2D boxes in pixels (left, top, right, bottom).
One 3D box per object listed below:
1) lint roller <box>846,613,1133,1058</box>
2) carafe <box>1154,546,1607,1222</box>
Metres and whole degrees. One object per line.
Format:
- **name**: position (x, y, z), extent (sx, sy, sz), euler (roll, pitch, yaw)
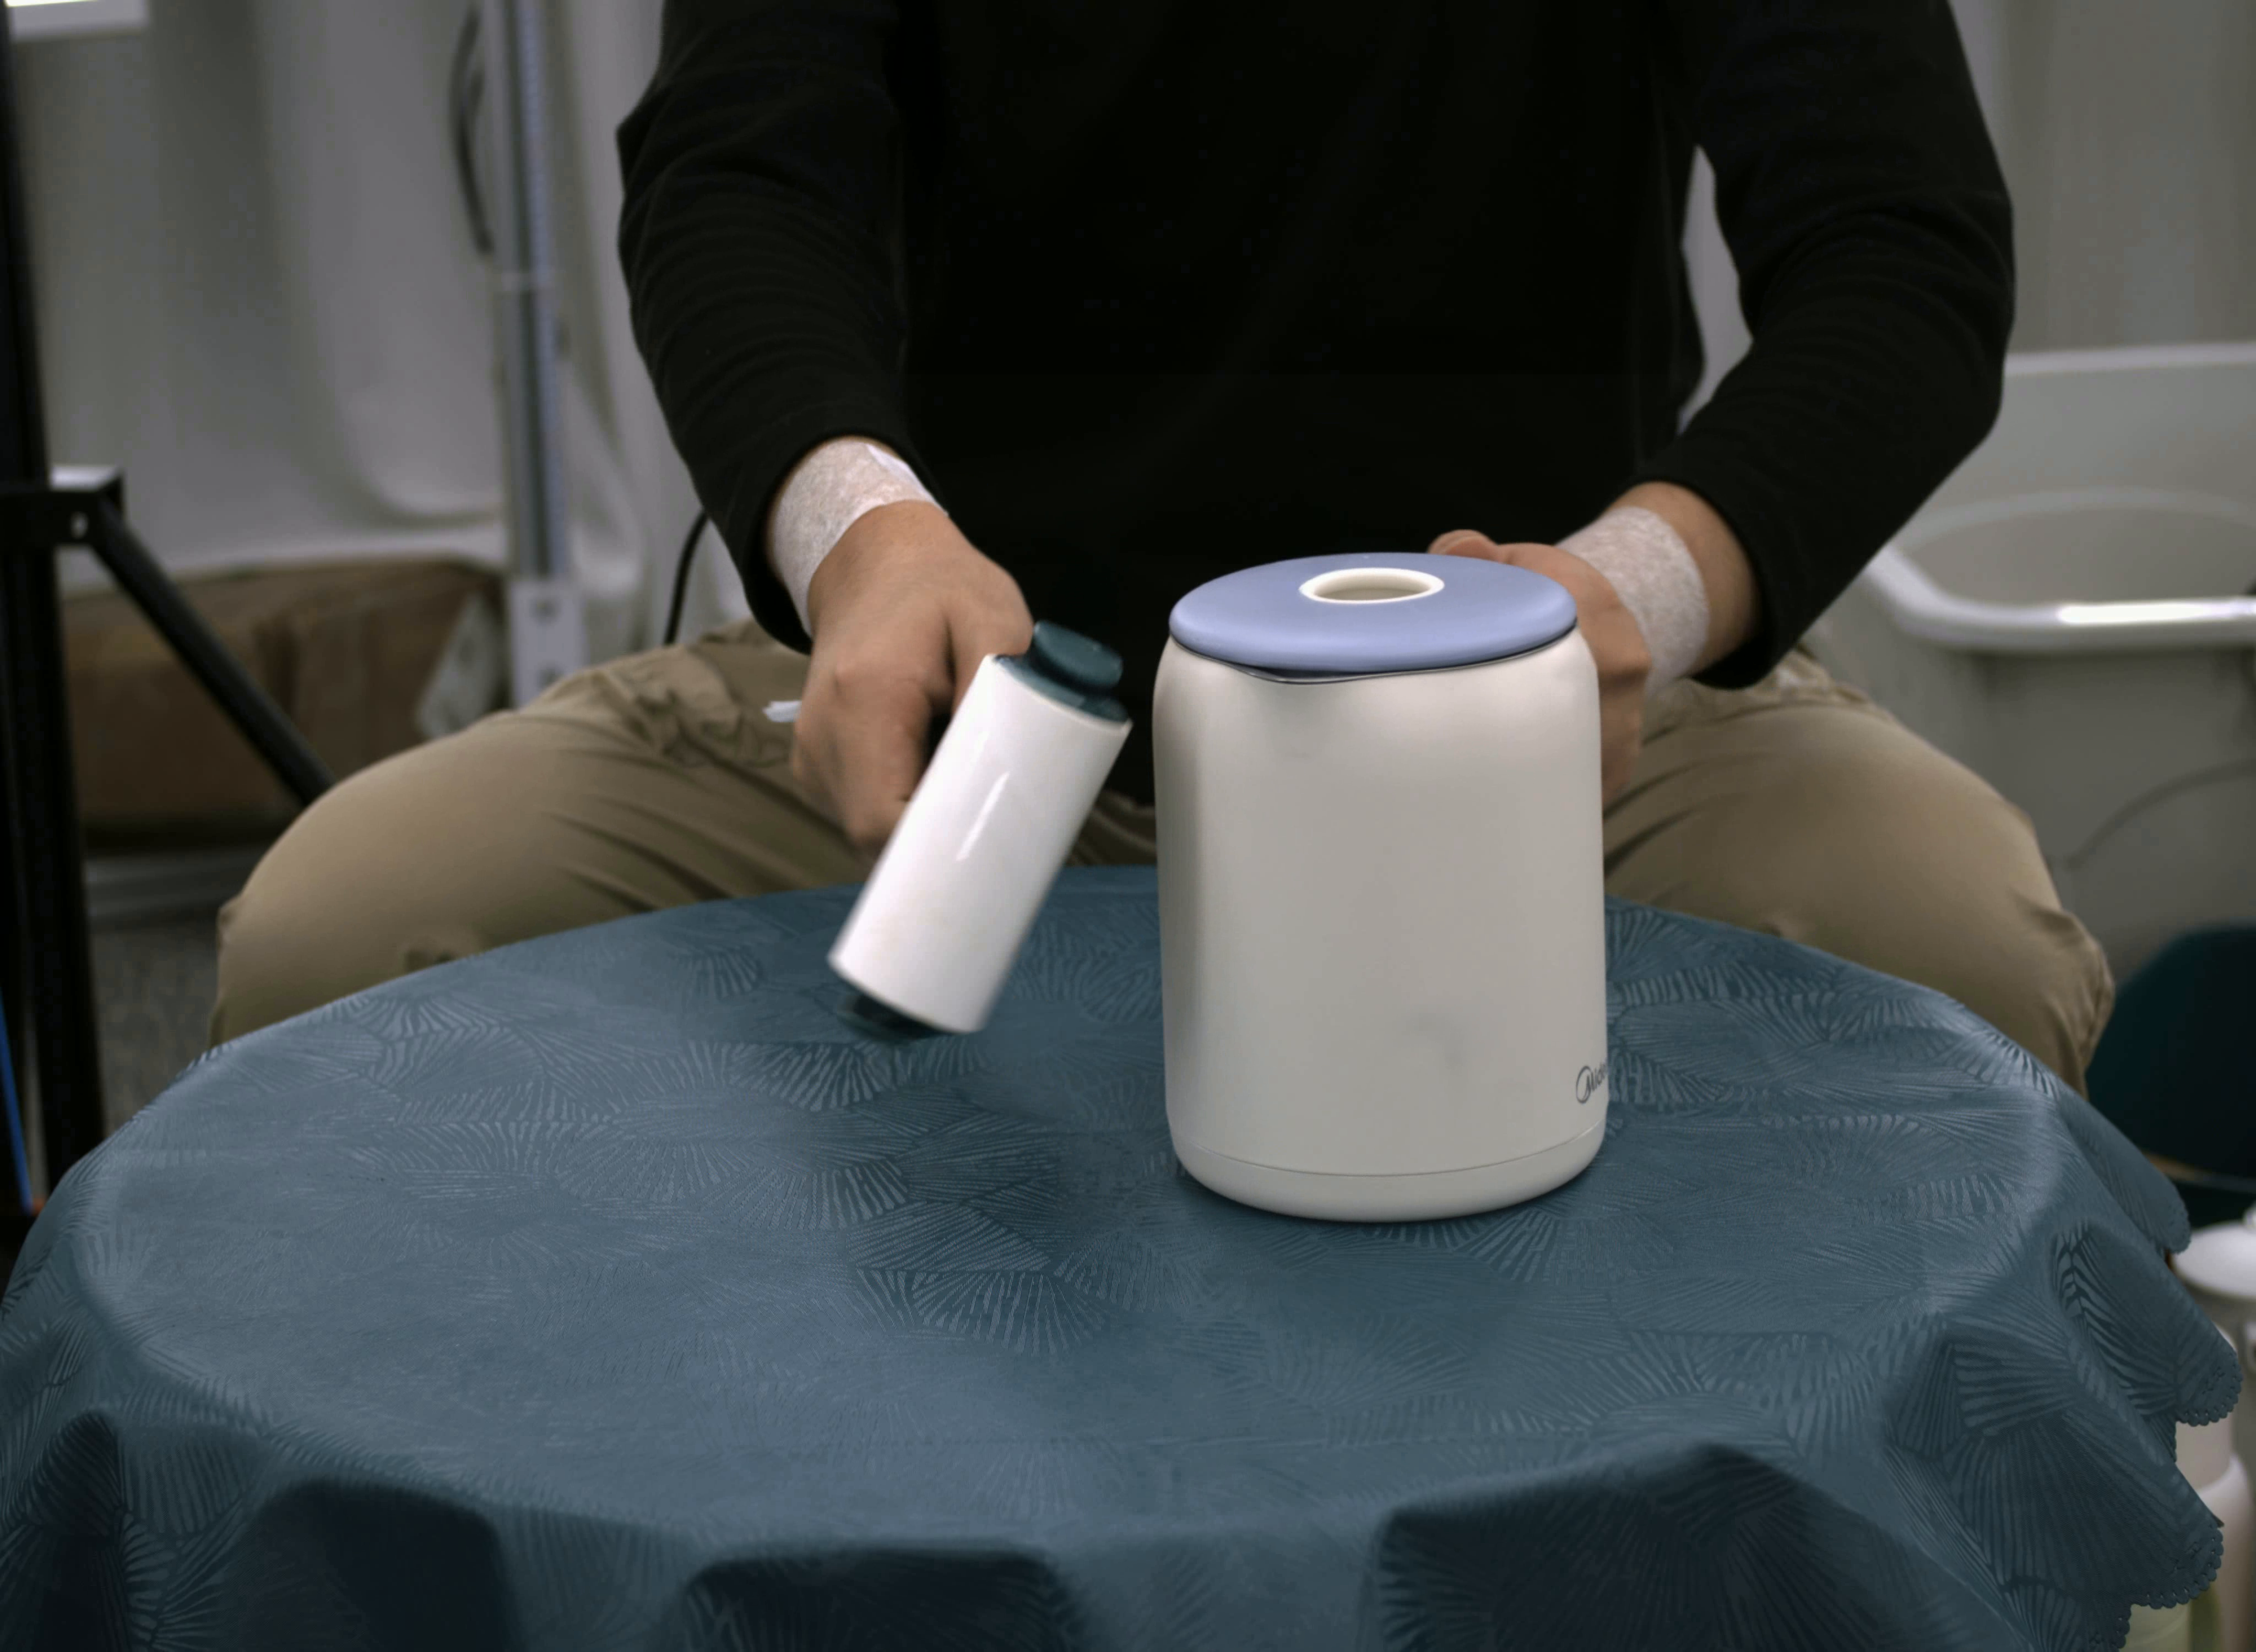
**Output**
- **lint roller**: position (-0.052, -0.013, 1.588), extent (0.047, 0.135, 0.182), euler (22, 9, -16)
- **carafe**: position (0.084, 0.010, 1.574), extent (0.134, 0.182, 0.188), euler (5, 15, 22)
